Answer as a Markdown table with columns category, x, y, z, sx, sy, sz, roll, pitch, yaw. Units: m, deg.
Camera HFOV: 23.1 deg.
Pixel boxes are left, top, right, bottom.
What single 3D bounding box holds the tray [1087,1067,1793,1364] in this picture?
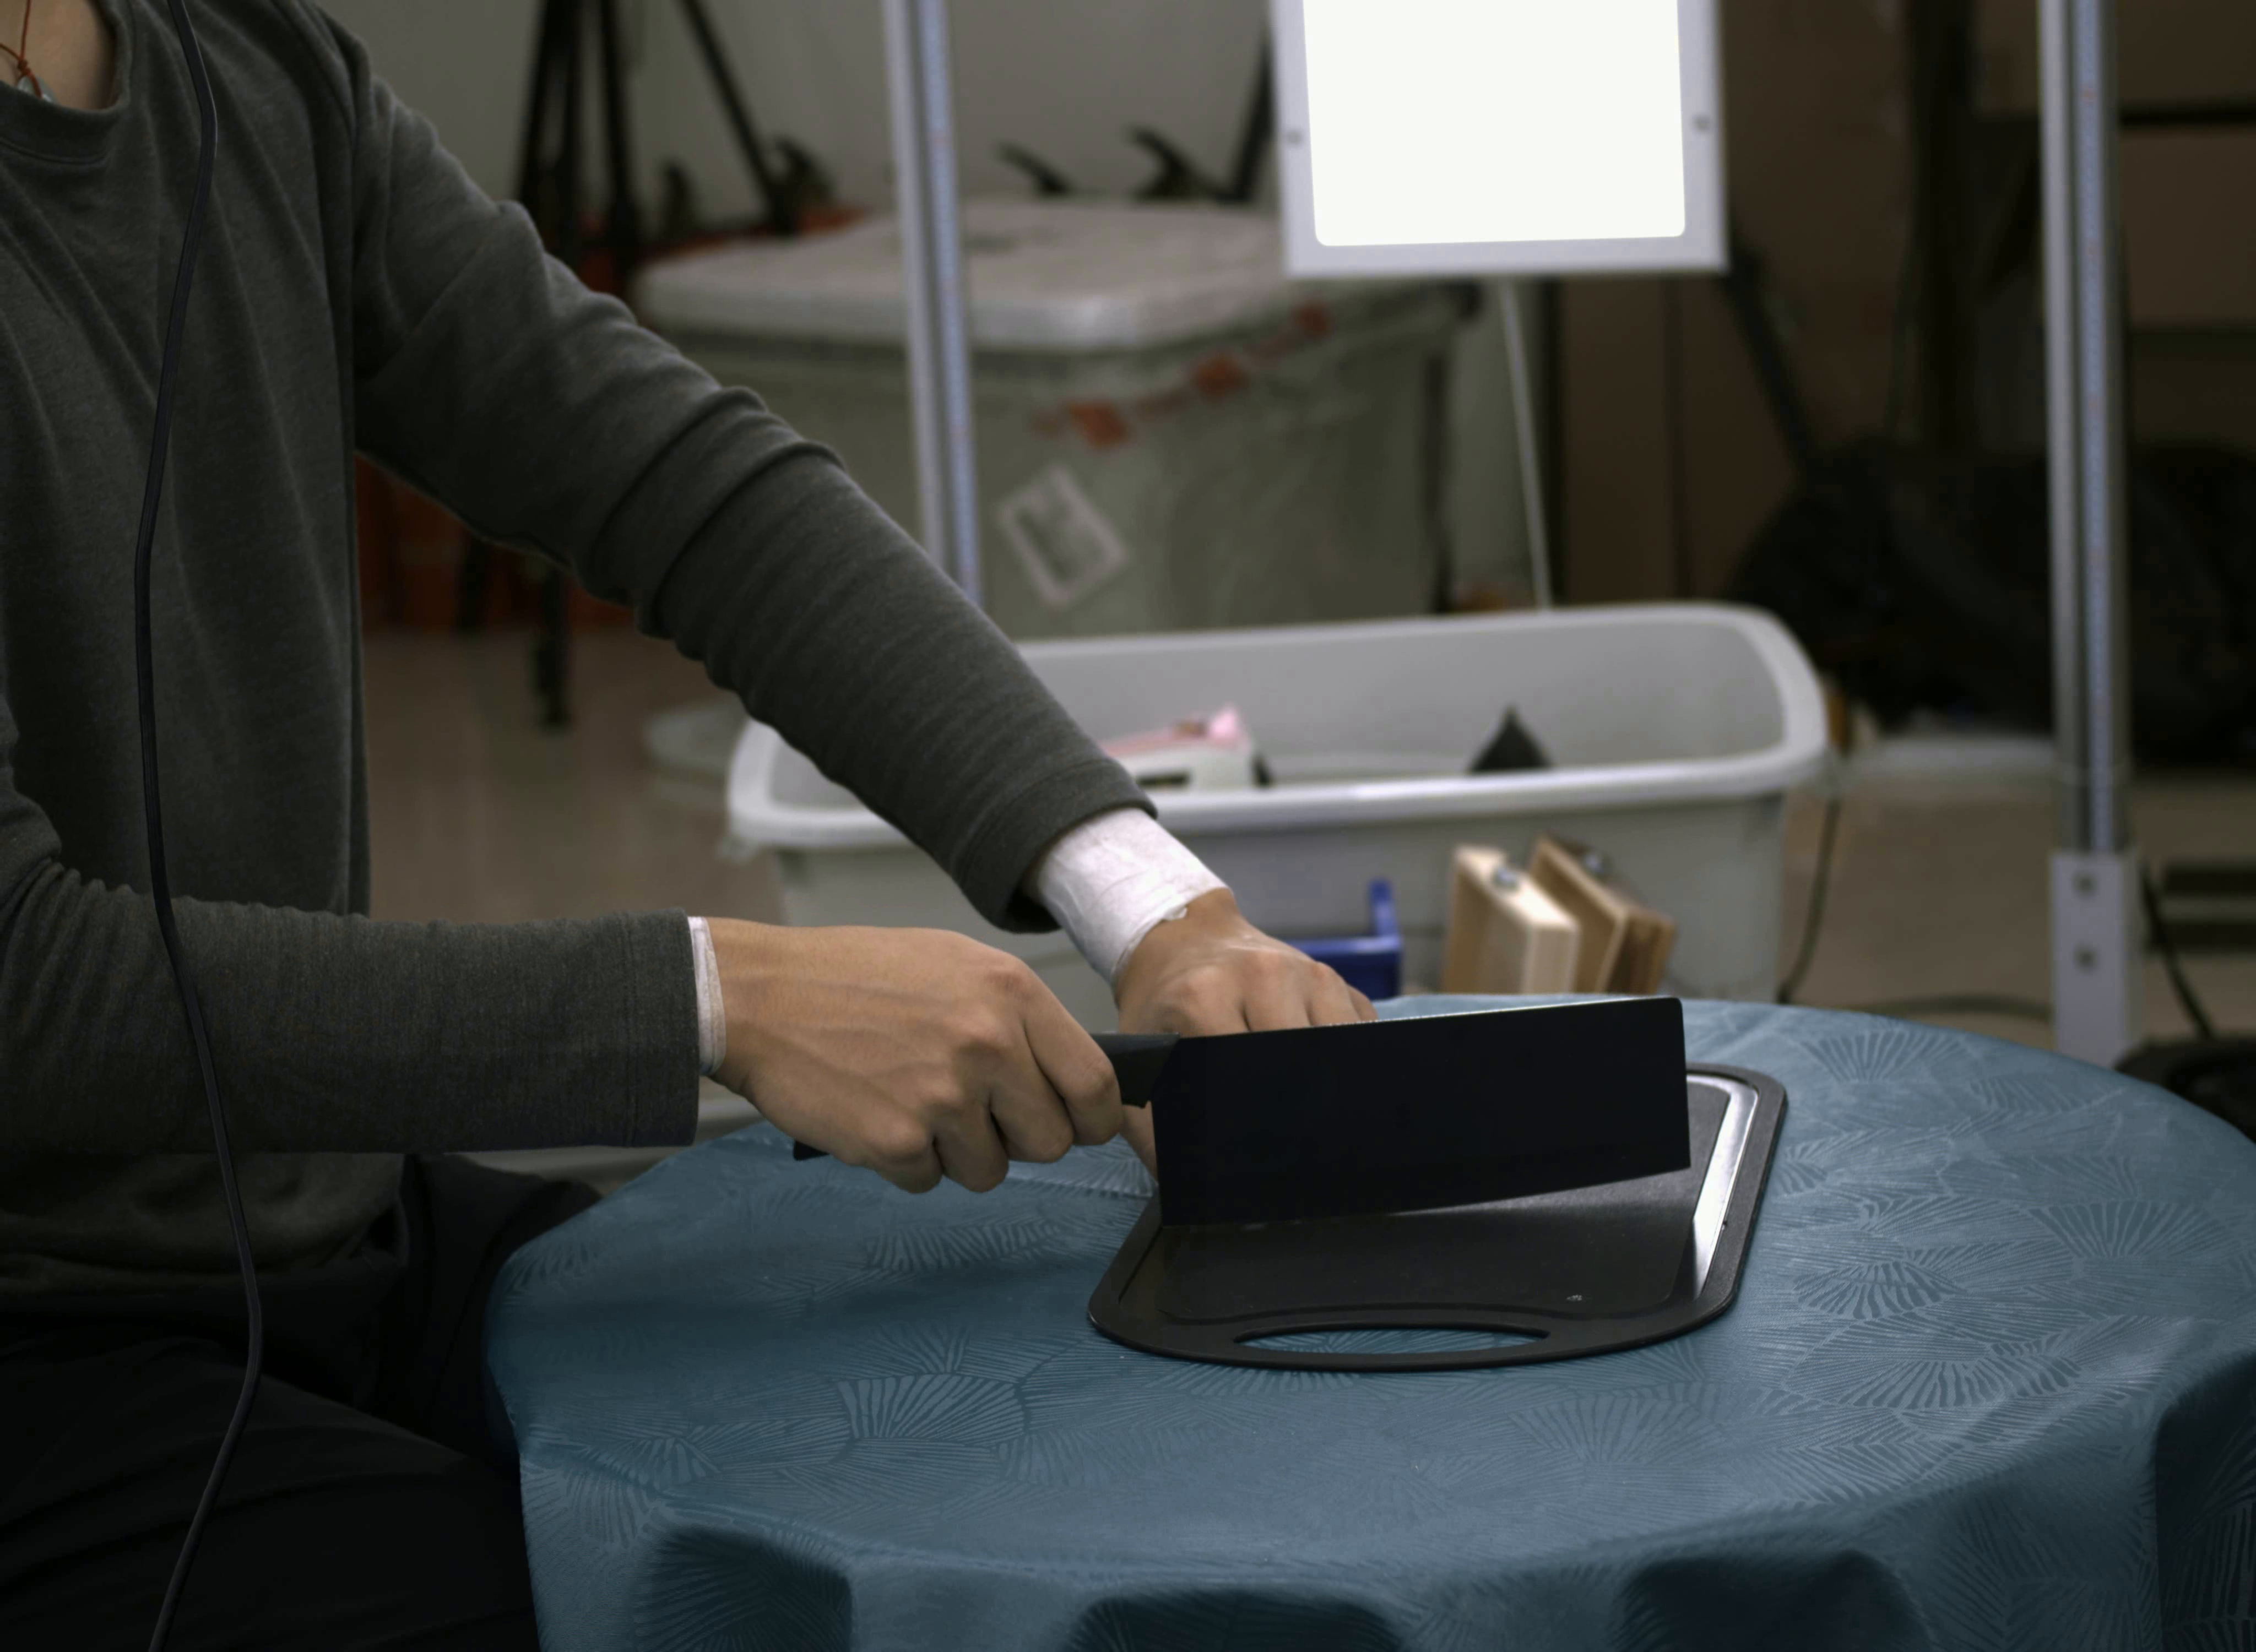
| category | x | y | z | sx | sy | sz | roll | pitch | yaw |
| --- | --- | --- | --- | --- | --- | --- | --- | --- | --- |
| tray | 0.110 | 0.125 | 1.849 | 0.213 | 0.010 | 0.321 | 0 | 14 | 13 |

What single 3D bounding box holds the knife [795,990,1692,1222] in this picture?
| category | x | y | z | sx | sy | sz | roll | pitch | yaw |
| --- | --- | --- | --- | --- | --- | --- | --- | --- | --- |
| knife | 0.039 | 0.096 | 1.840 | 0.301 | 0.081 | 0.021 | -1 | 10 | 1 |
